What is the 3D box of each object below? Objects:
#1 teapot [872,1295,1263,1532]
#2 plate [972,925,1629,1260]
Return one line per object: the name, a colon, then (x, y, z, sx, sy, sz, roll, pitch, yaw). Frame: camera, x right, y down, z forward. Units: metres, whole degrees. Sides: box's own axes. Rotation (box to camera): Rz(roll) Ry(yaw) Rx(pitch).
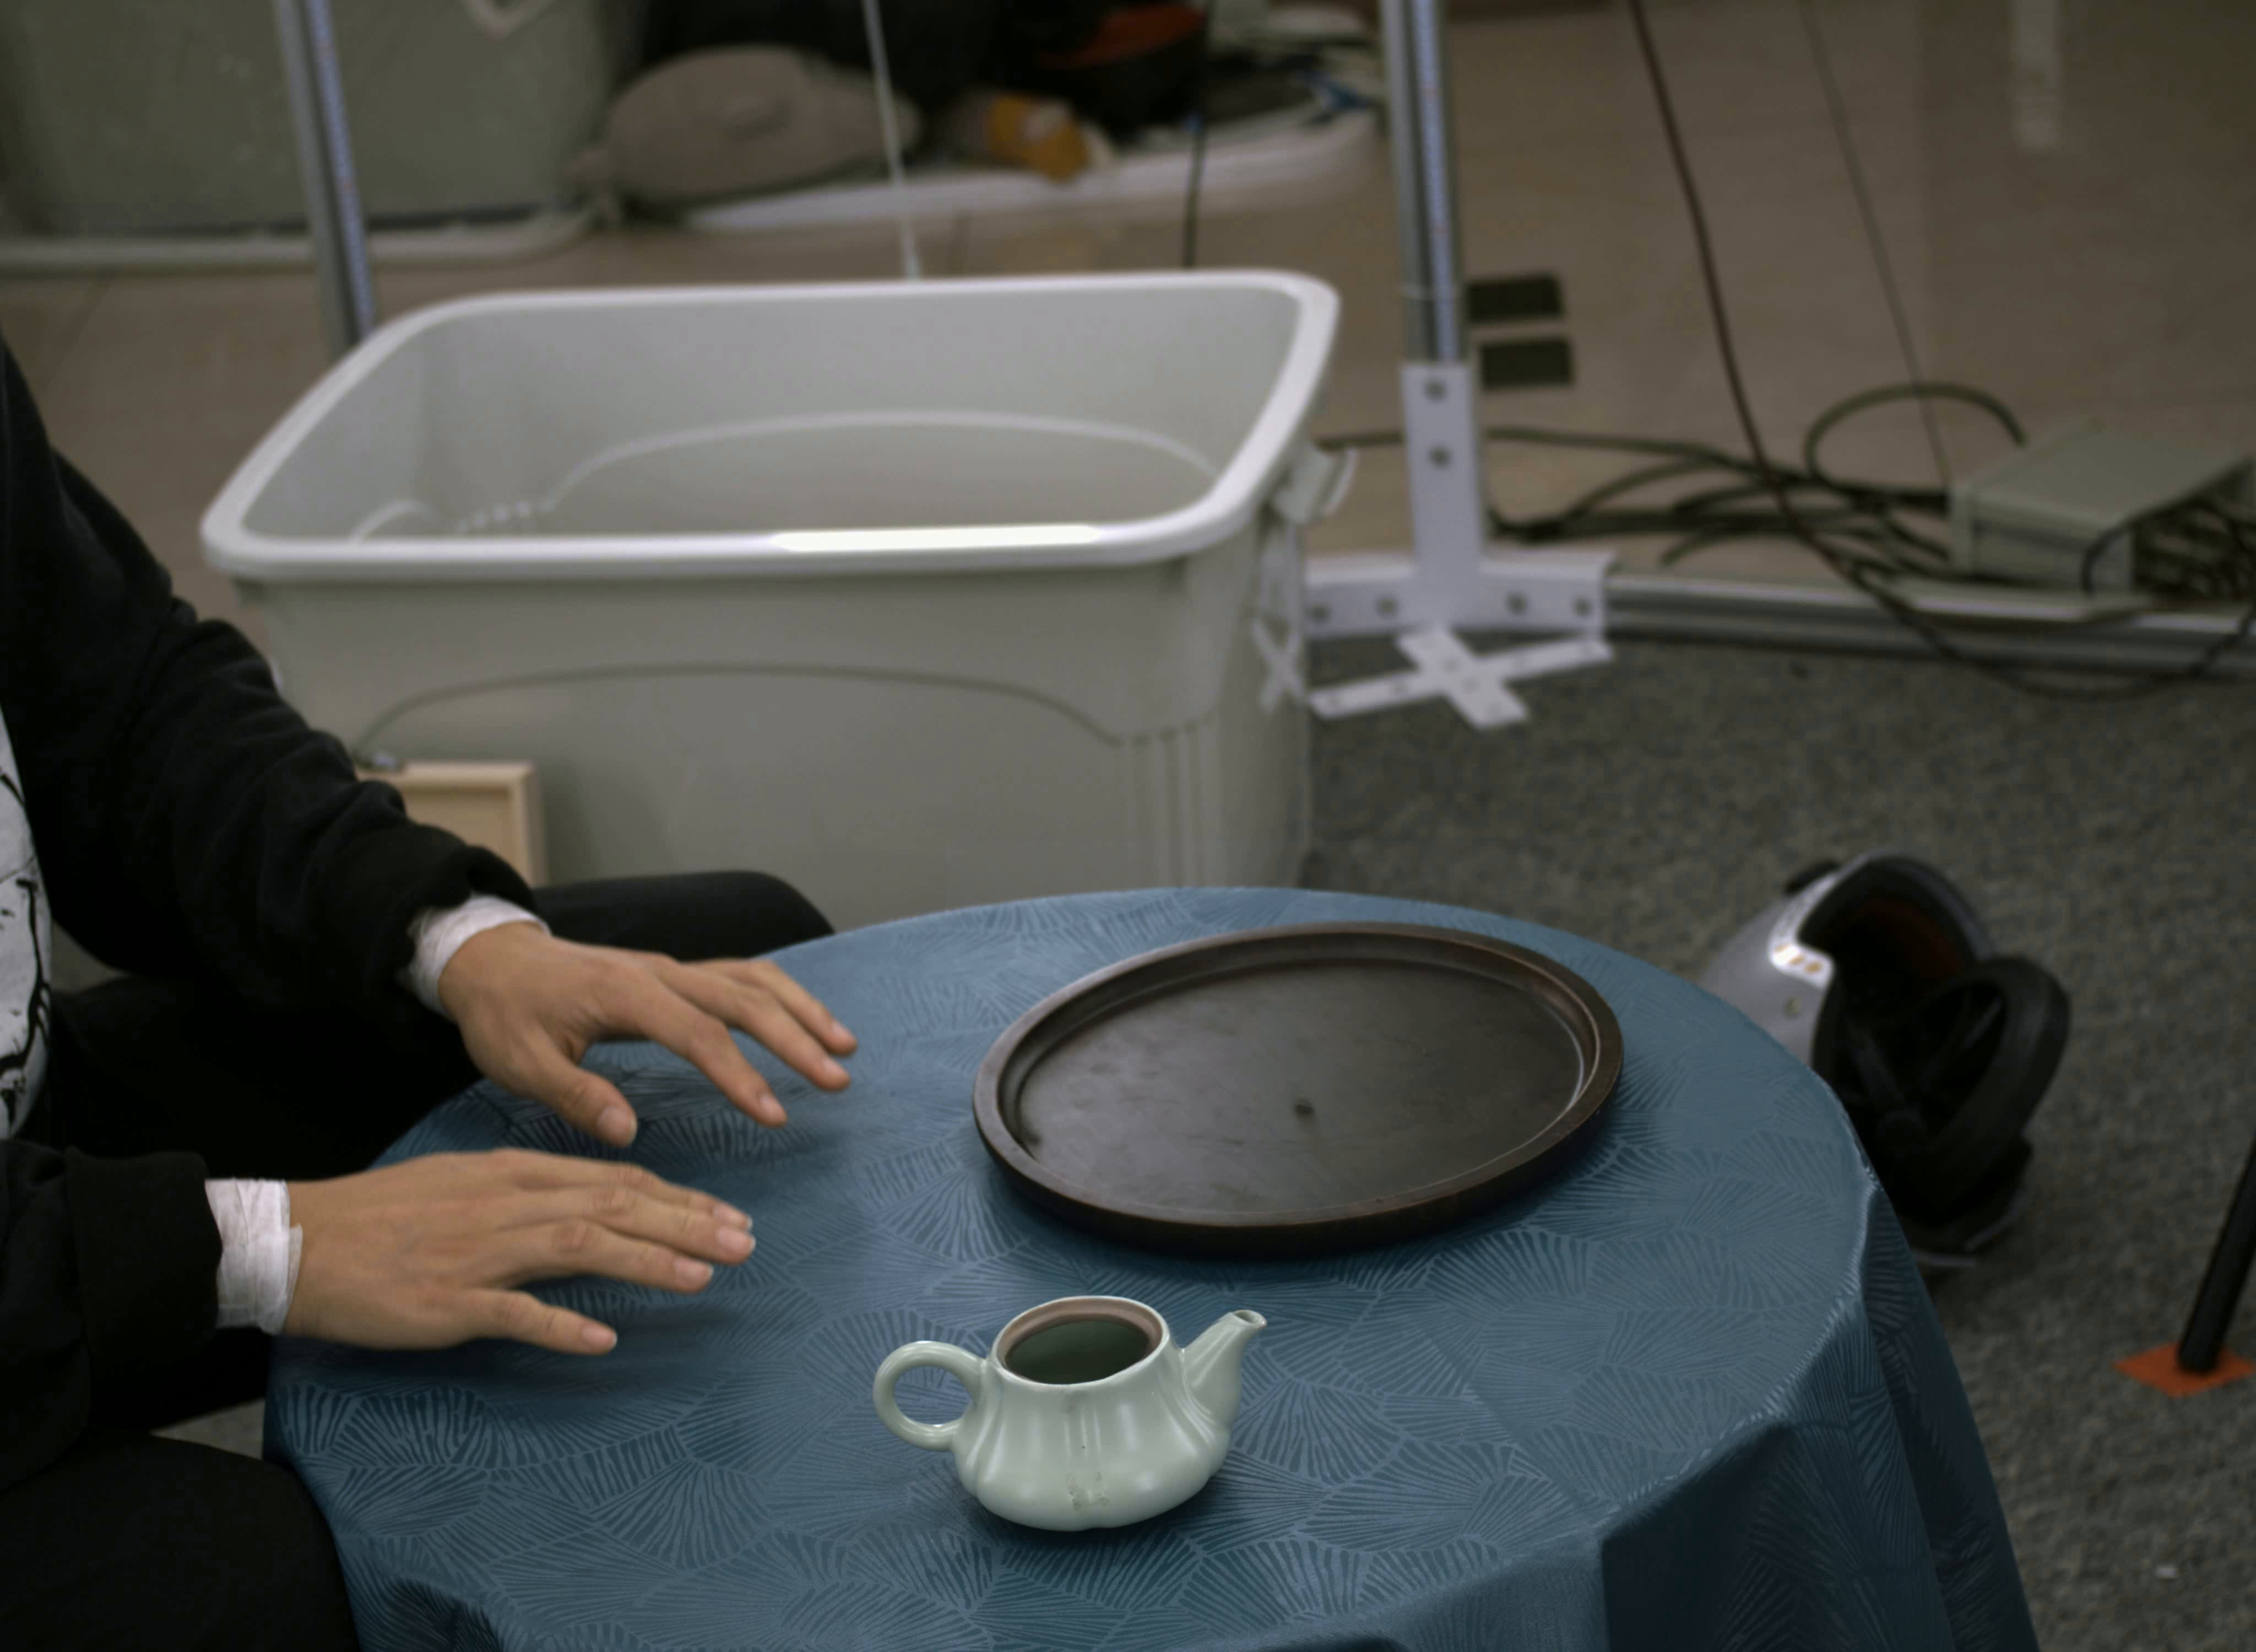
teapot: (-0.019, 0.200, 1.951, 0.137, 0.062, 0.095, -7, 27, -1)
plate: (0.067, 0.101, 2.187, 0.254, 0.029, 0.251, -5, 26, 2)
